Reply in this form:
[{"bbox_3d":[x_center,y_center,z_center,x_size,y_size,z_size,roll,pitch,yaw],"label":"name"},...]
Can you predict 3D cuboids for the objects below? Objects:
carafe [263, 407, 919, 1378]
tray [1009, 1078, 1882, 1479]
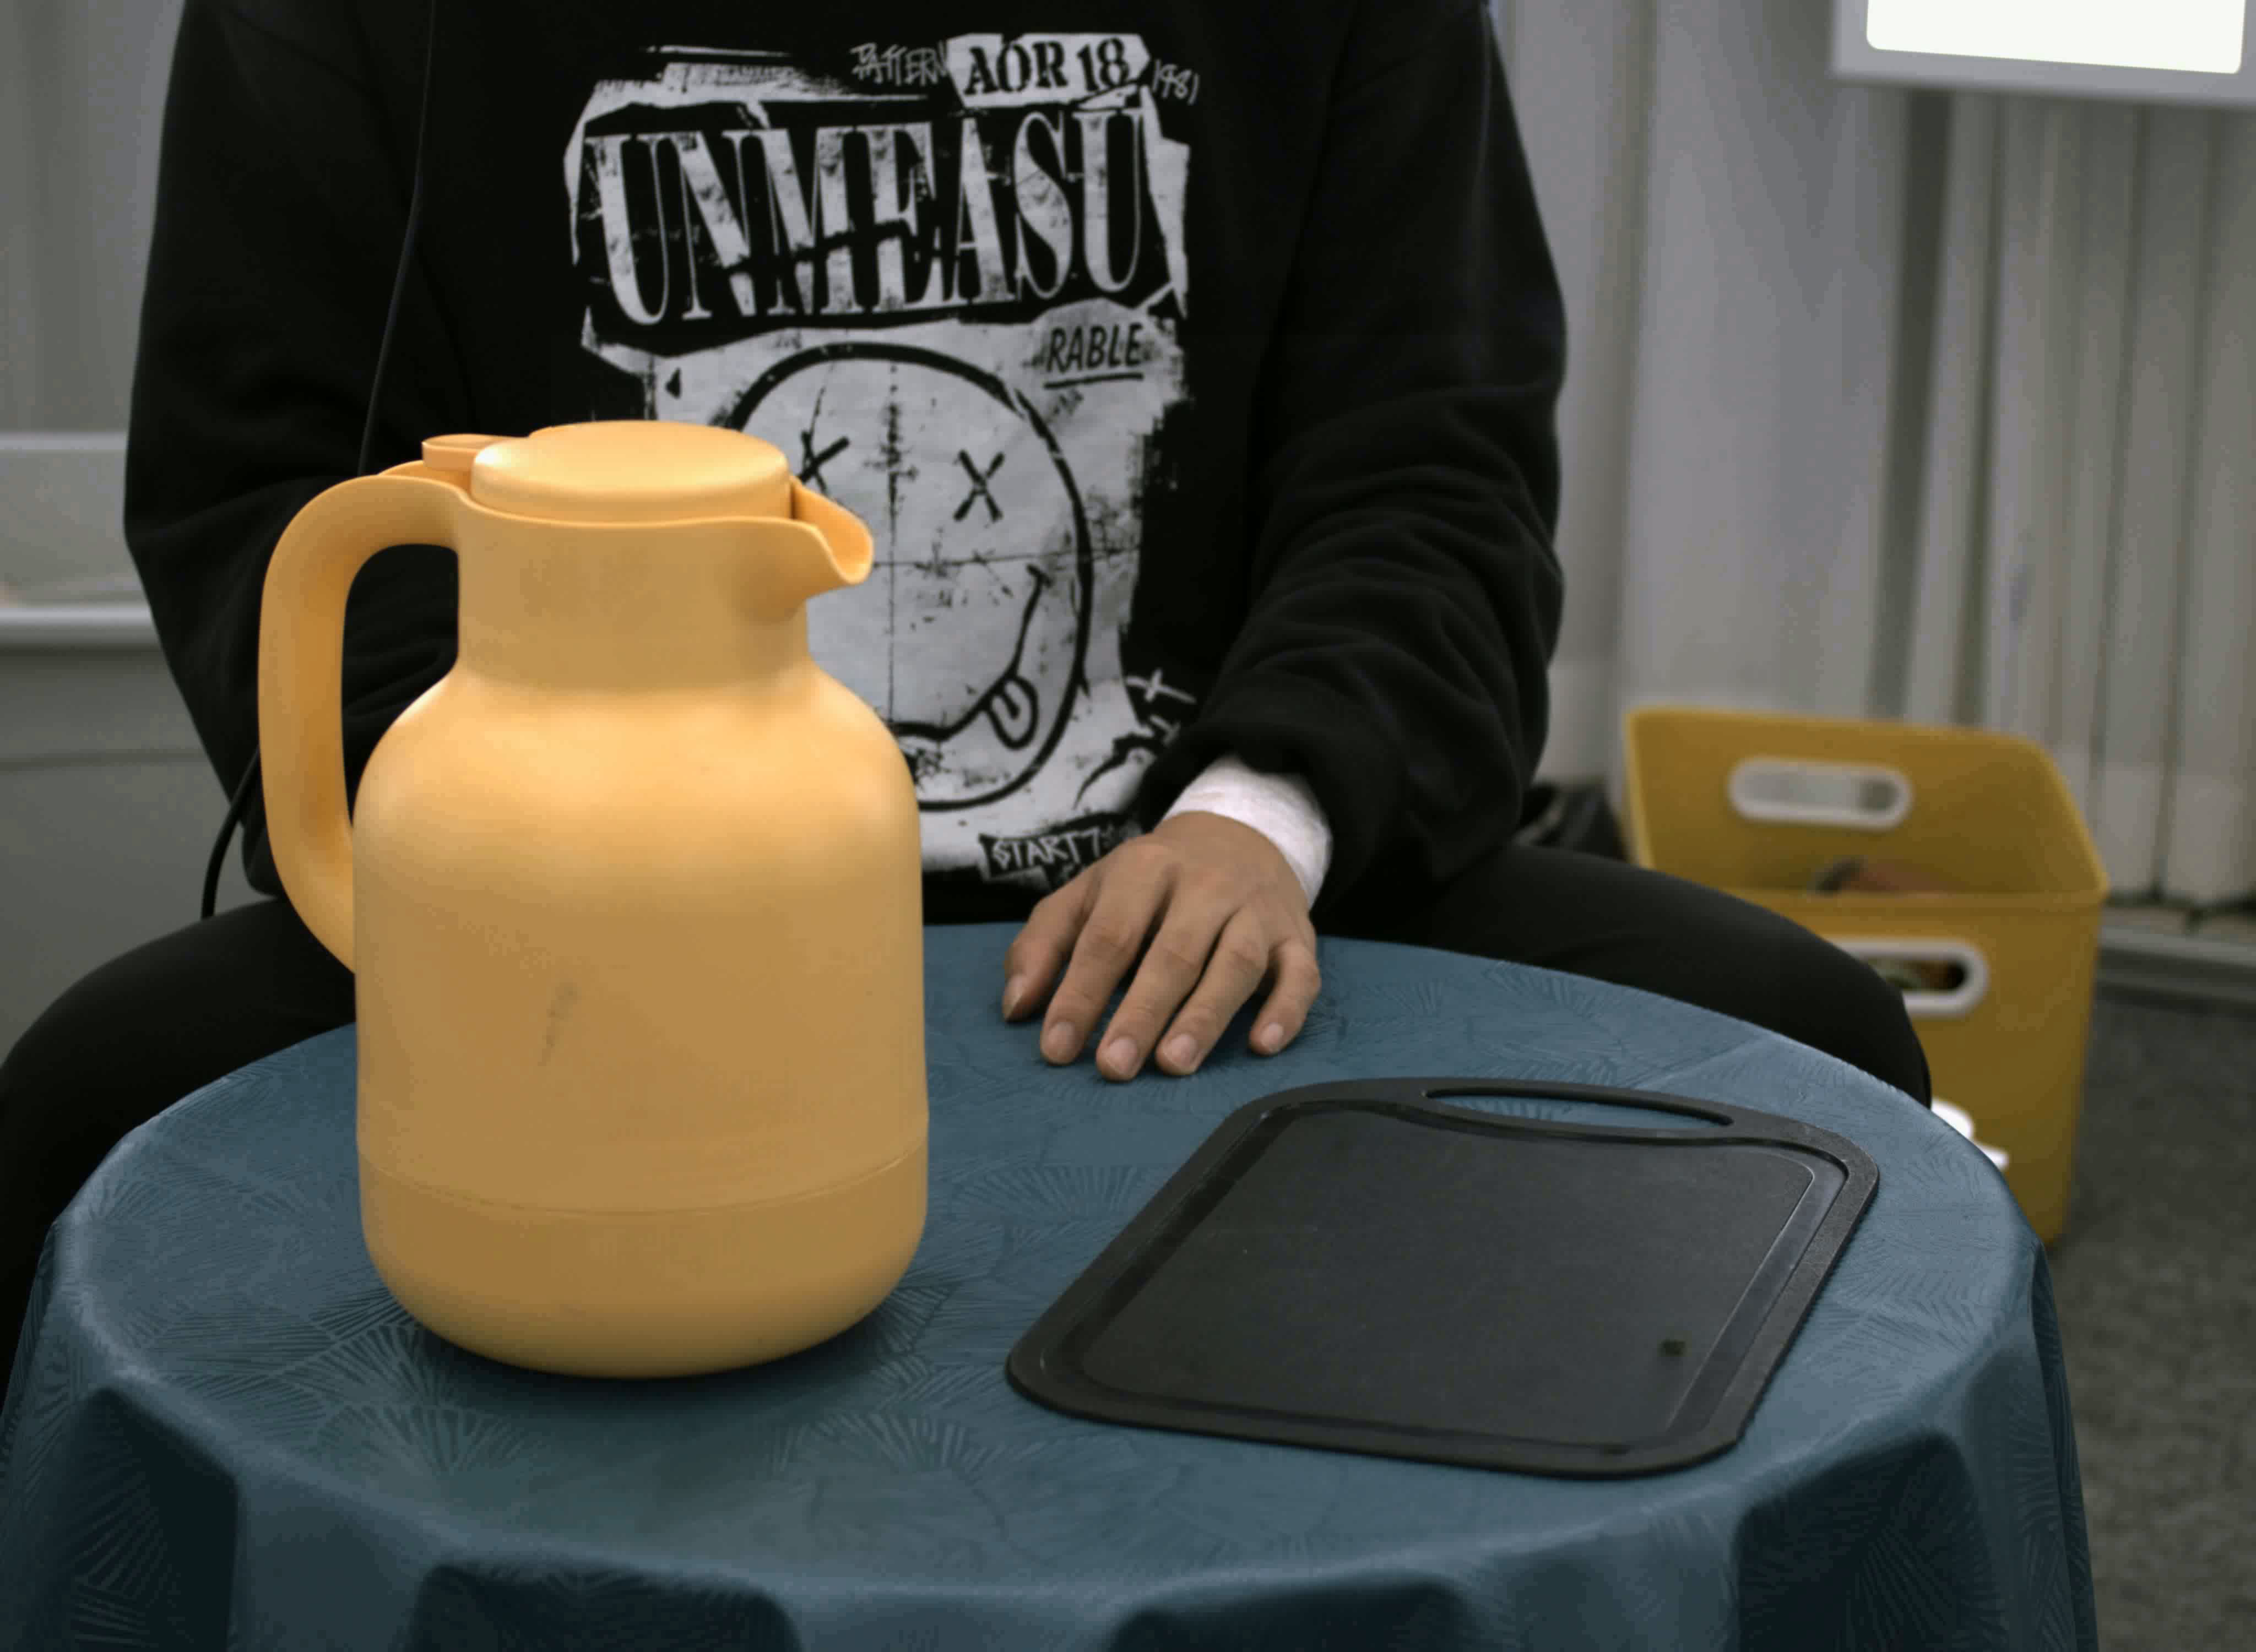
[{"bbox_3d":[-0.155,0.011,1.490,0.200,0.262,0.164,11,17,27],"label":"carafe"},{"bbox_3d":[0.102,0.125,1.568,0.209,0.010,0.325,6,16,17],"label":"tray"}]
